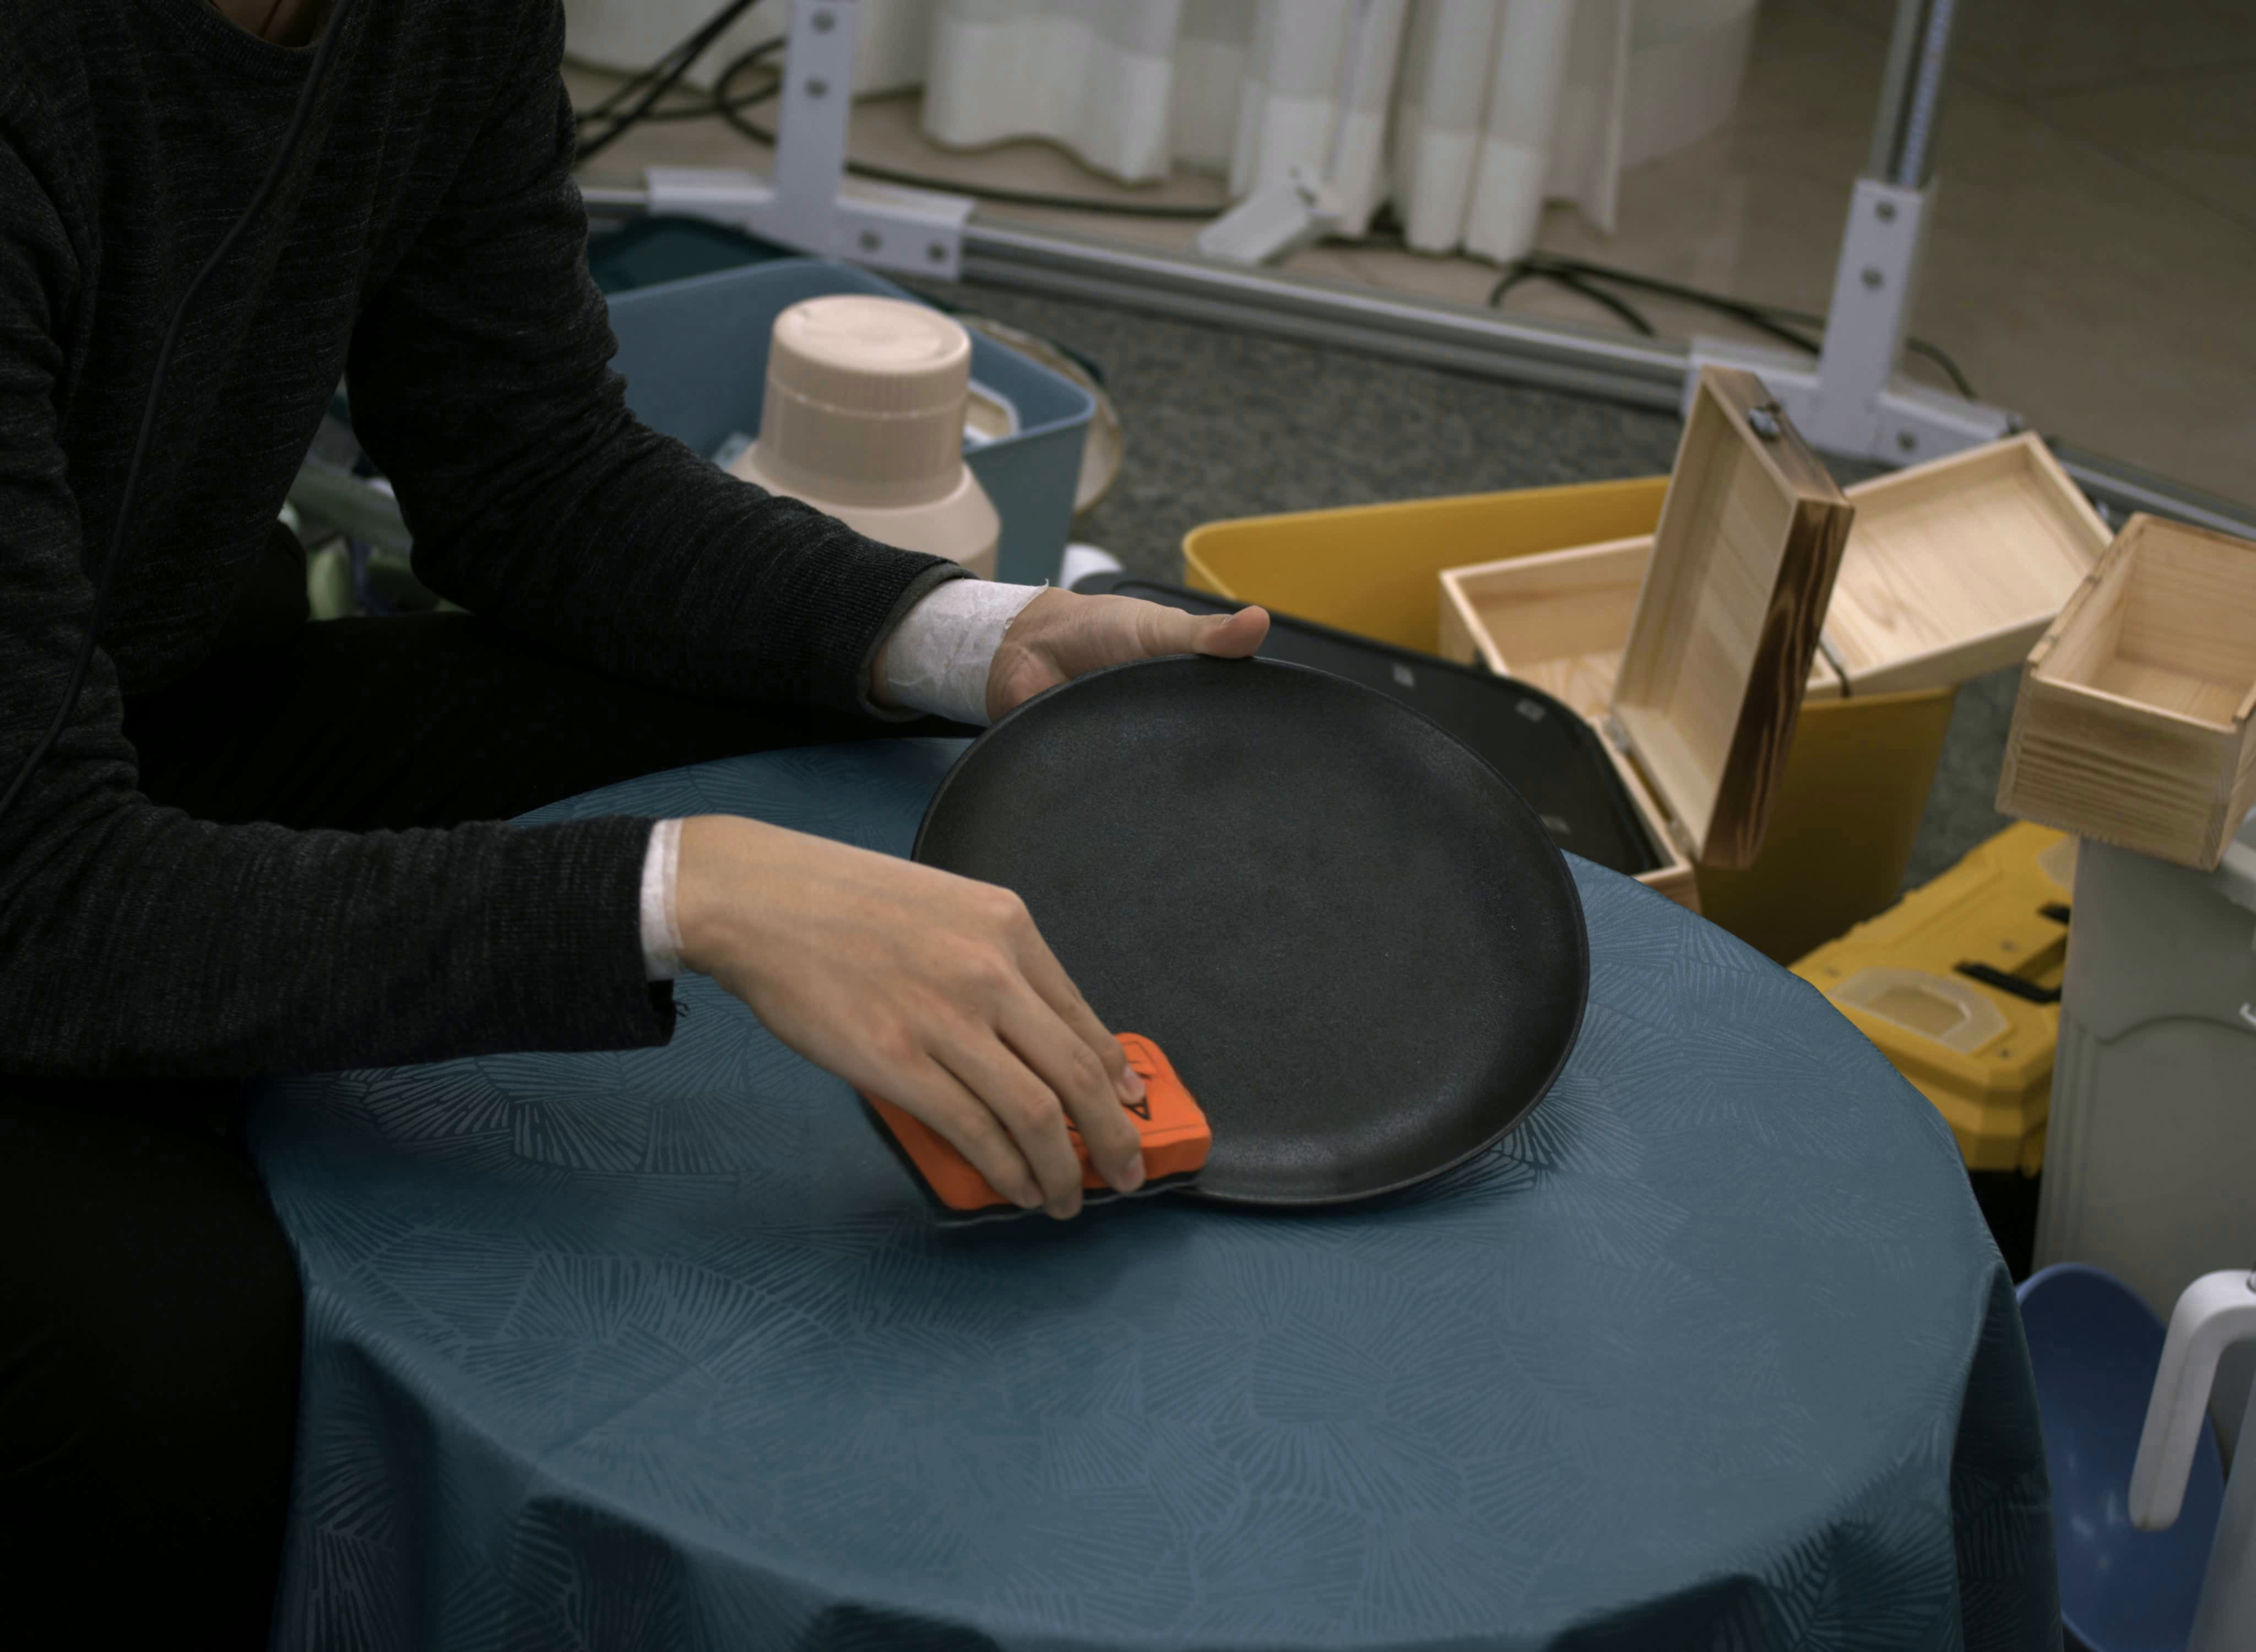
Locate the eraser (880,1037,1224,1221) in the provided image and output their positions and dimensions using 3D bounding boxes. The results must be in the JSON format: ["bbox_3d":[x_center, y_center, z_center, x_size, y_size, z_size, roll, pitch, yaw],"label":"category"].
[{"bbox_3d":[-0.025,0.101,1.781,0.107,0.023,0.059,-6,38,-32],"label":"eraser"}]

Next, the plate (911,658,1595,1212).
[{"bbox_3d":[0.043,0.039,1.875,0.243,0.023,0.246,4,50,-6],"label":"plate"}]
